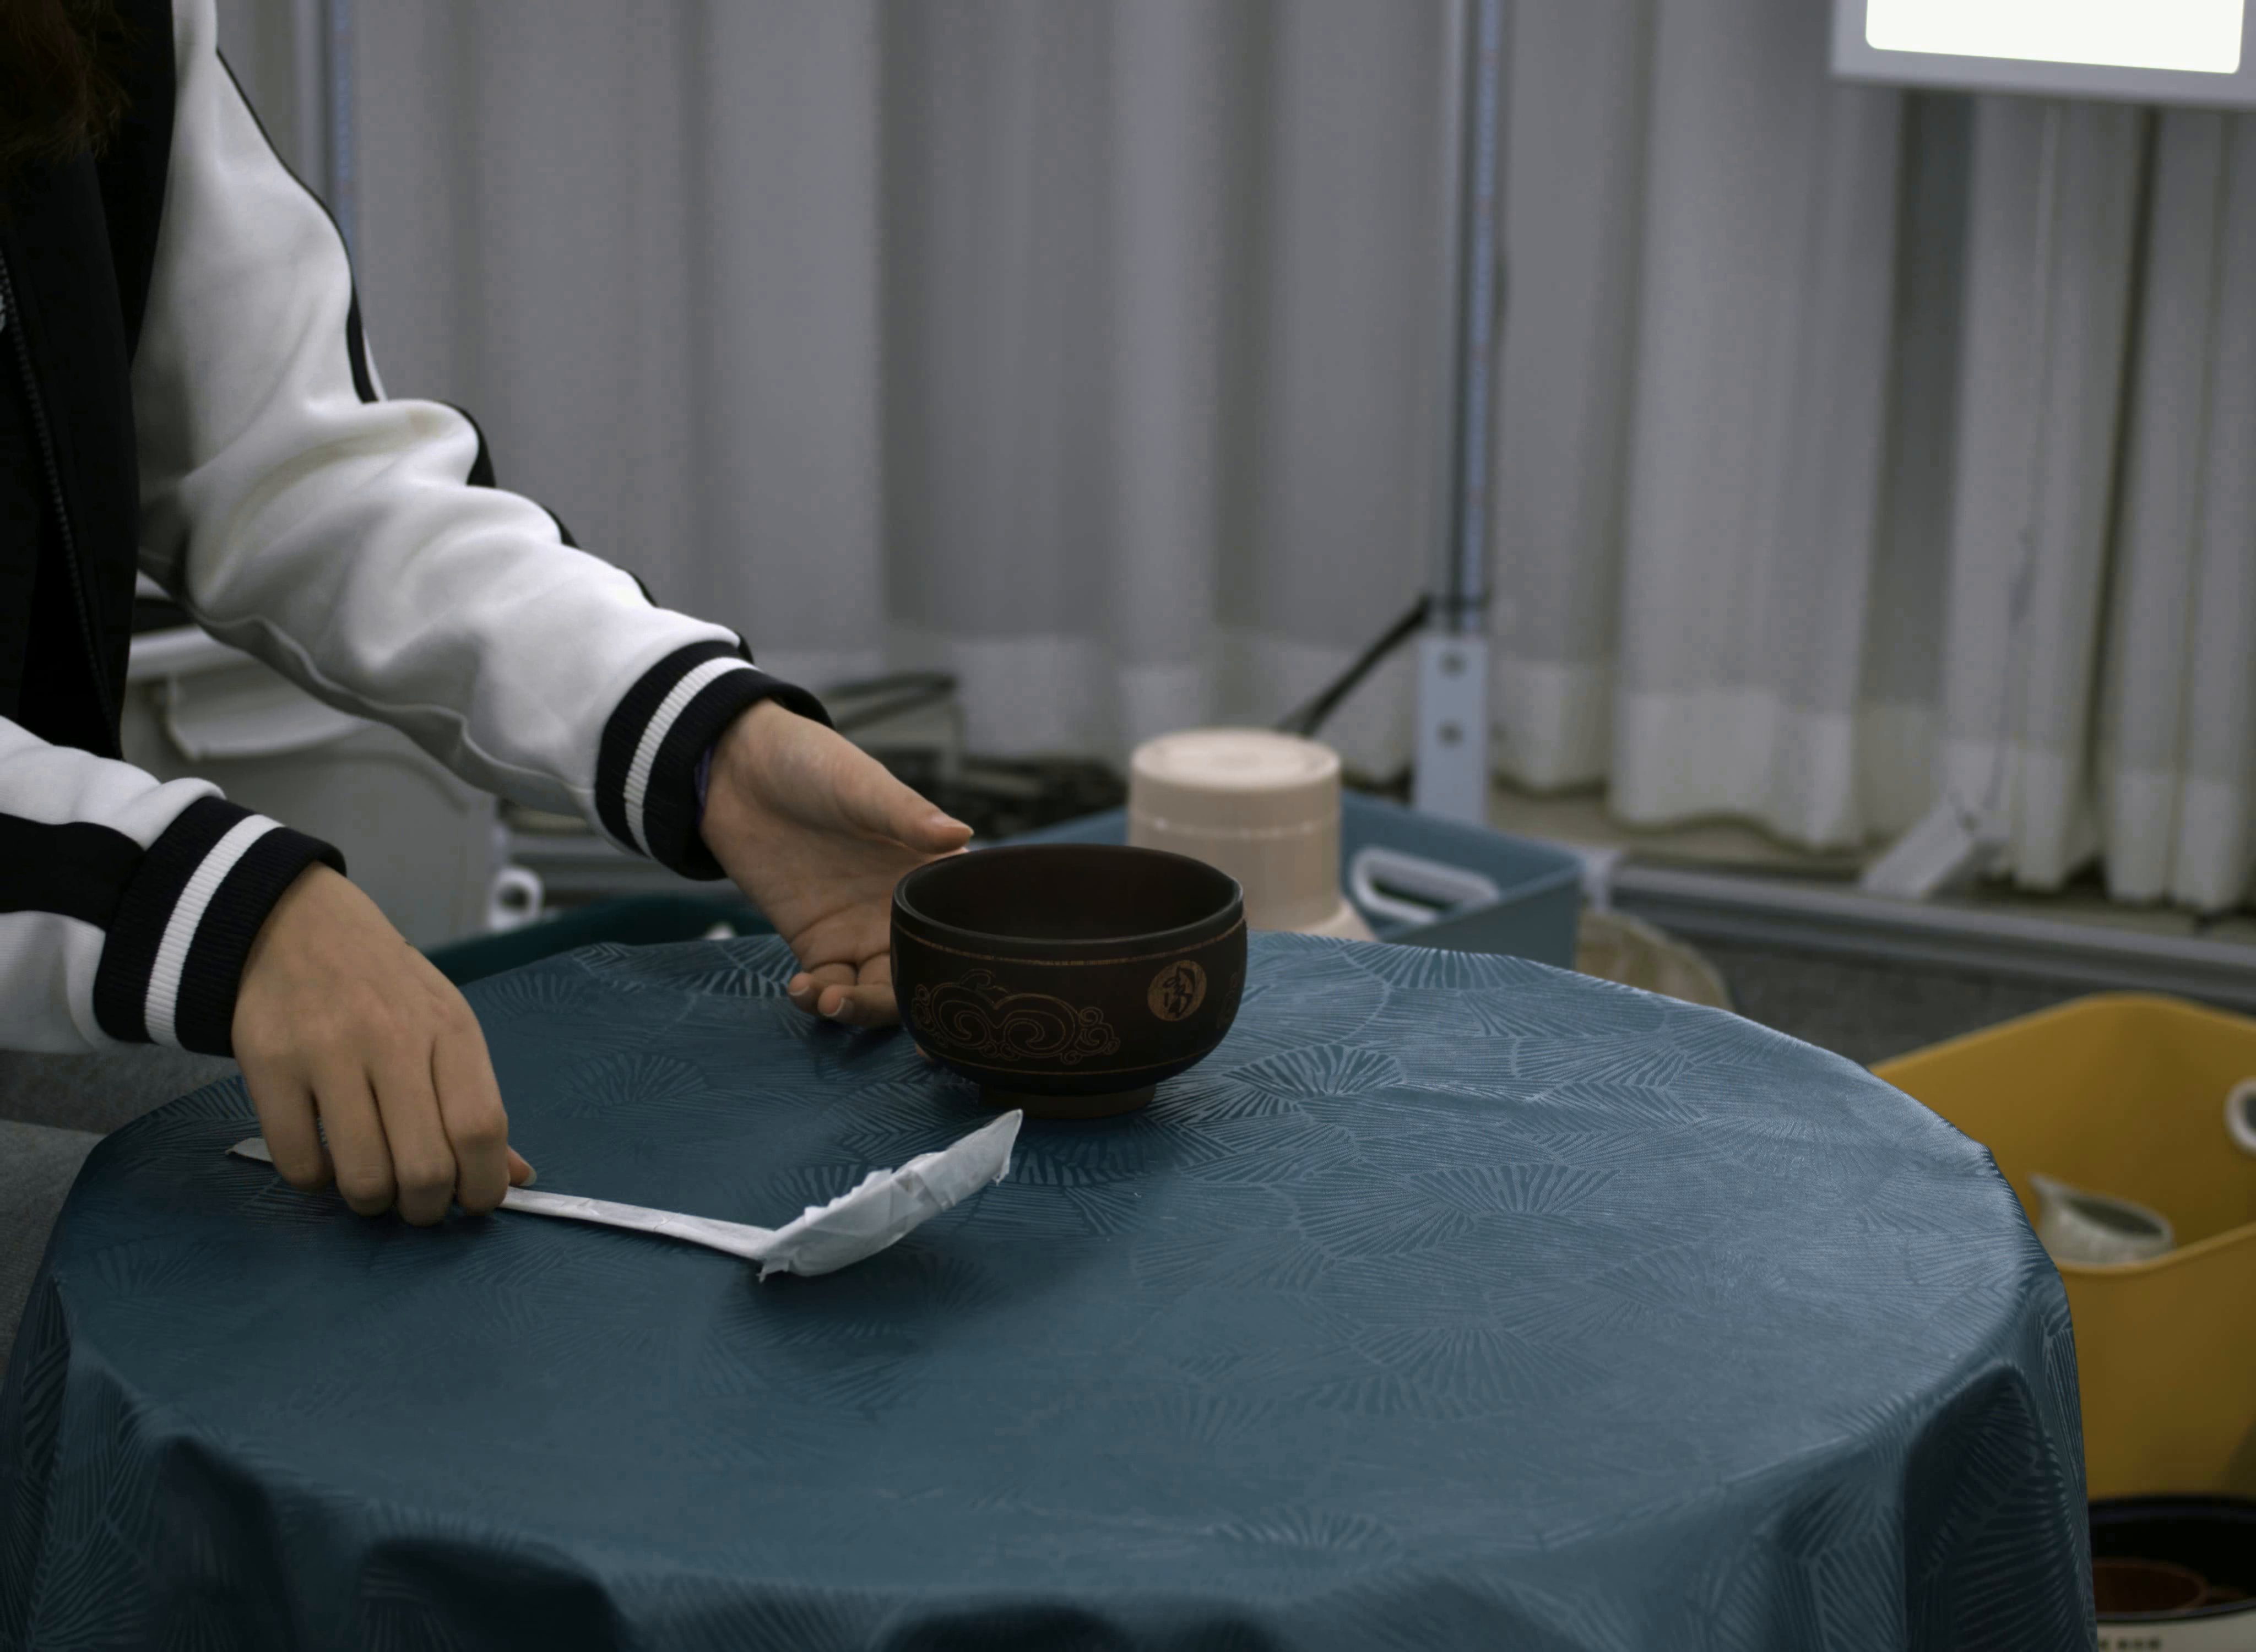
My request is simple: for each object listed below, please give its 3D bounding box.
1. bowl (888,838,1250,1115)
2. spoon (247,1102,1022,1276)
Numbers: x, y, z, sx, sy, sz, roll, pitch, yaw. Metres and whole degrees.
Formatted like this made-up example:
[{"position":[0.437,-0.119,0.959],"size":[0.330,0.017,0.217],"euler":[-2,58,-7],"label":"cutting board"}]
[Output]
[{"position":[-0.019,0.052,1.702],"size":[0.117,0.070,0.117],"euler":[0,15,0],"label":"bowl"},{"position":[-0.155,0.090,1.587],"size":[0.274,0.060,0.101],"euler":[10,16,29],"label":"spoon"}]
